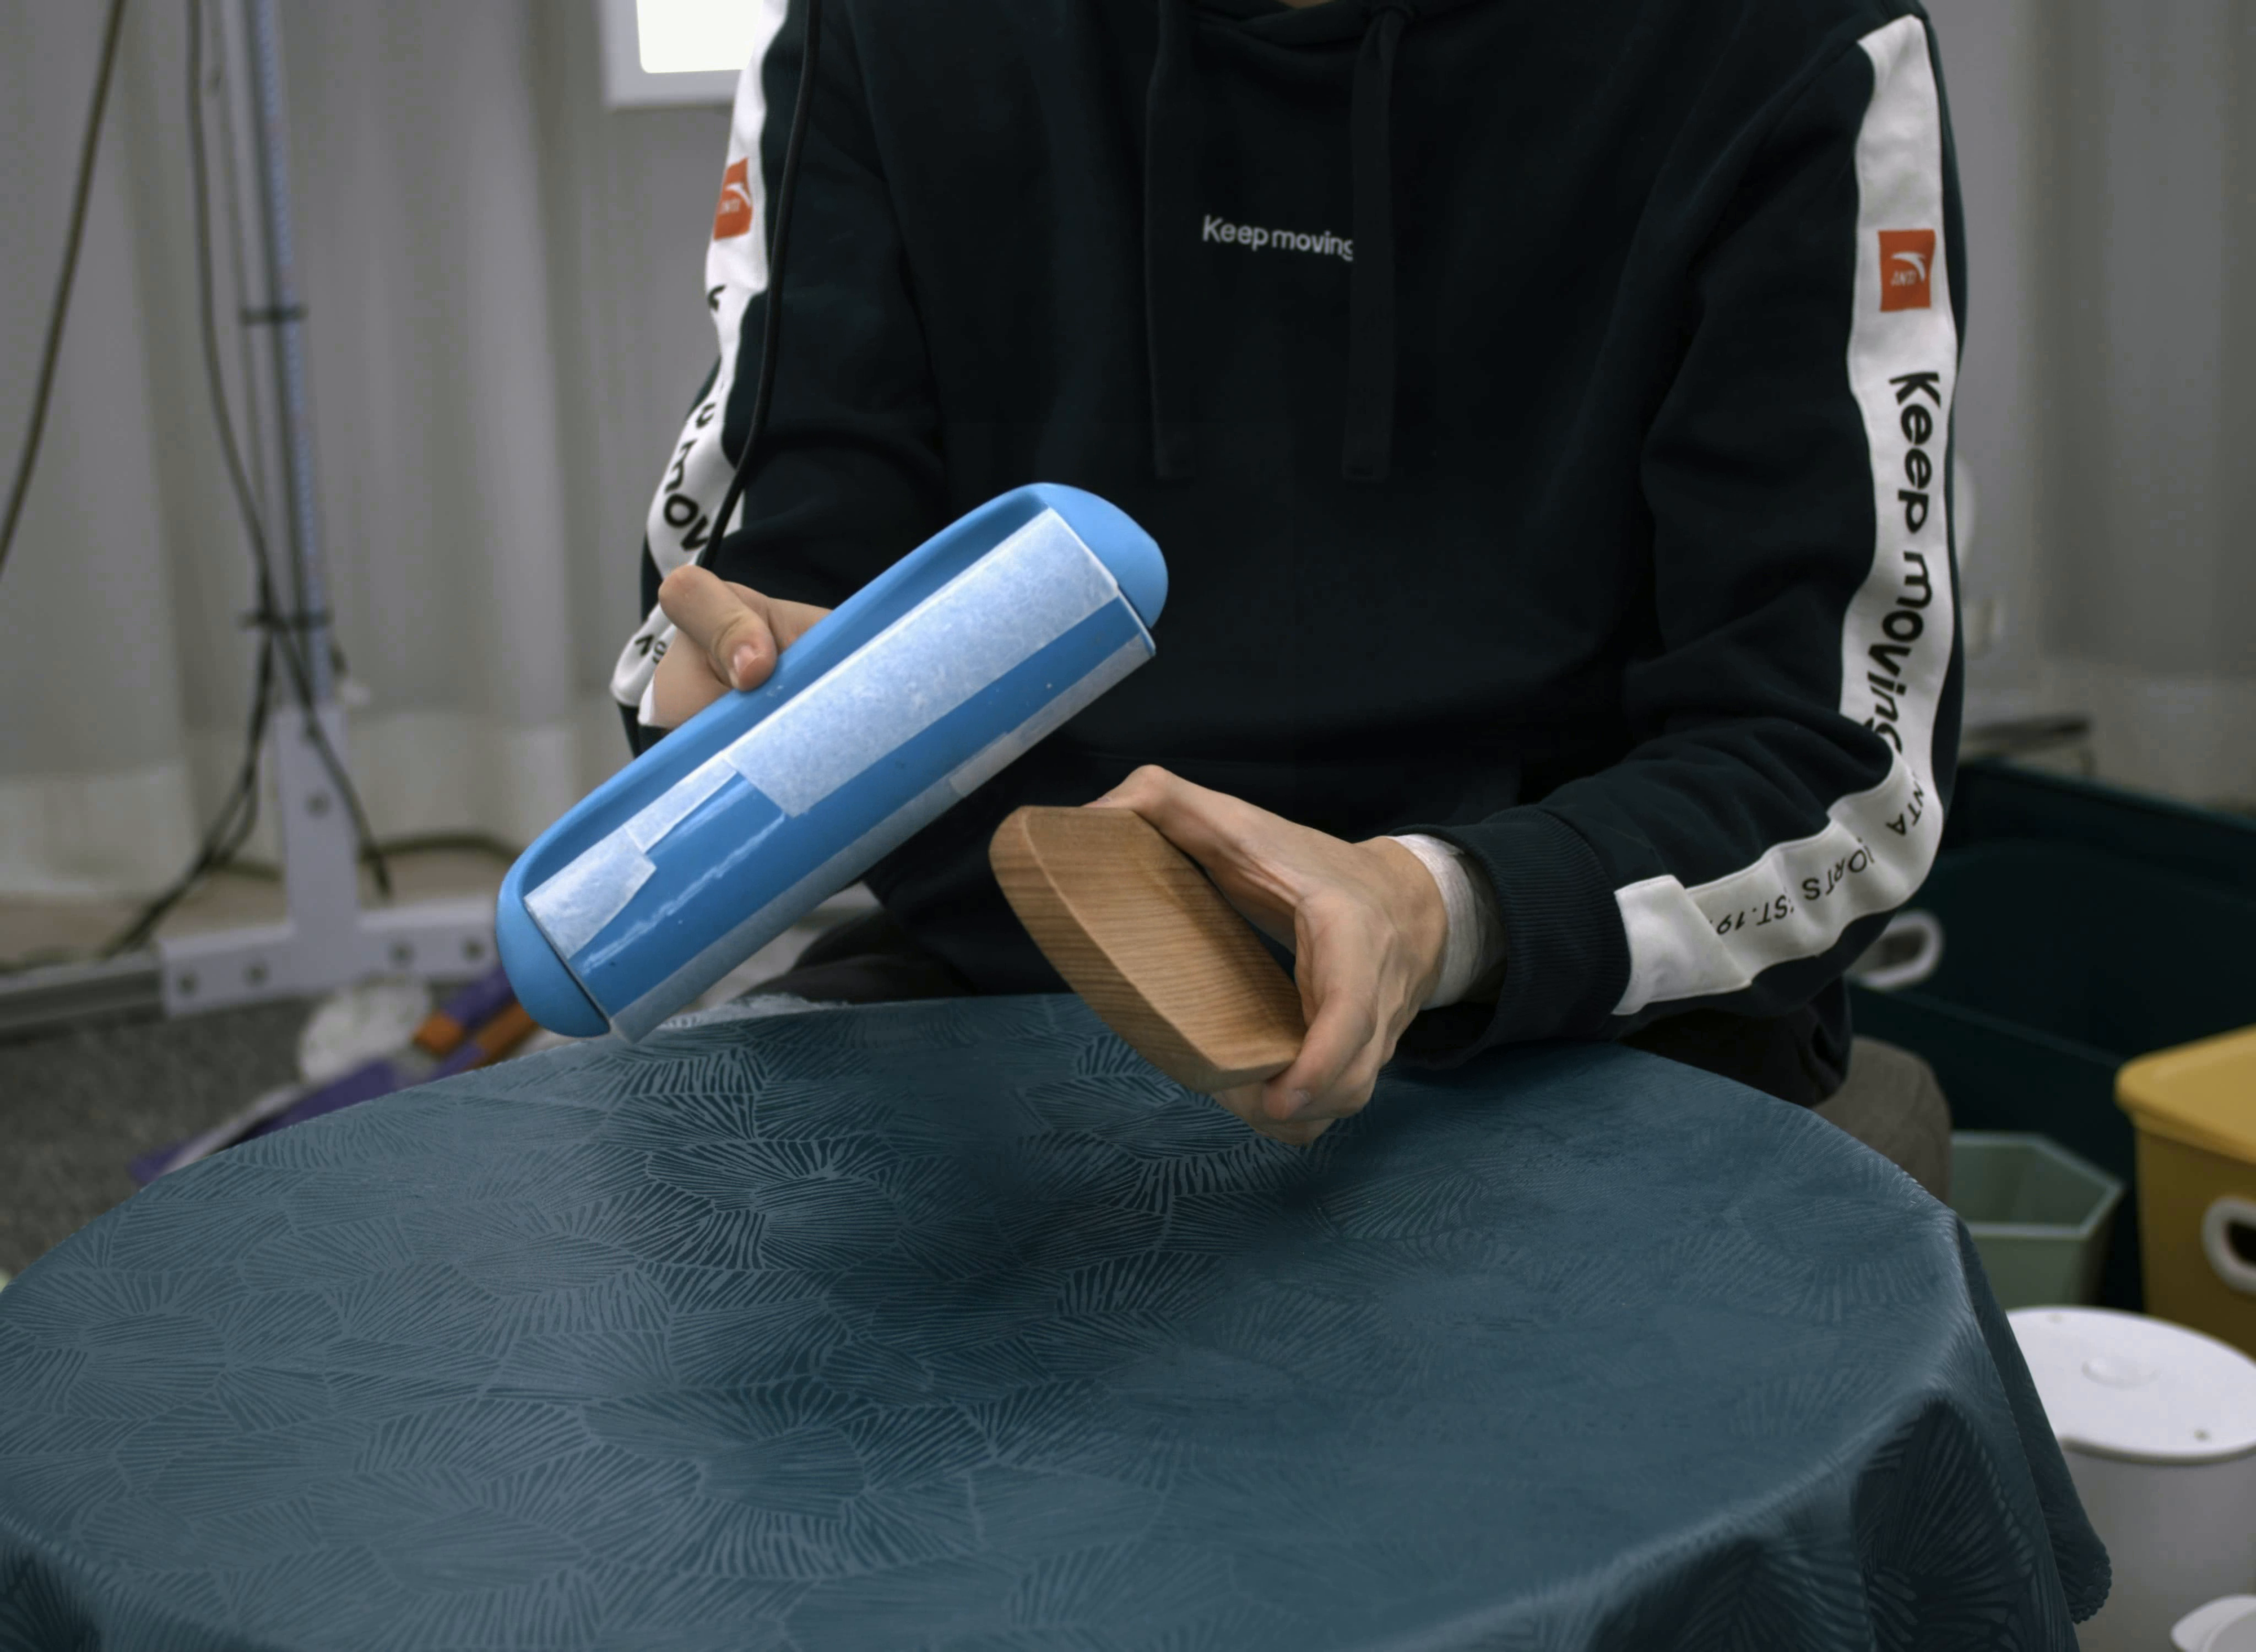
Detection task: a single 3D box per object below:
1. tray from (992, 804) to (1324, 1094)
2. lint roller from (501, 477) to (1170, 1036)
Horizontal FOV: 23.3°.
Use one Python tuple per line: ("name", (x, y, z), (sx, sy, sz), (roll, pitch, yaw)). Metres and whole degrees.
("tray", (0.010, 0.036, 1.630), (0.020, 0.102, 0.230), (-40, -7, 7))
("lint roller", (-0.094, -0.022, 1.653), (0.229, 0.067, 0.181), (-39, 9, -6))
